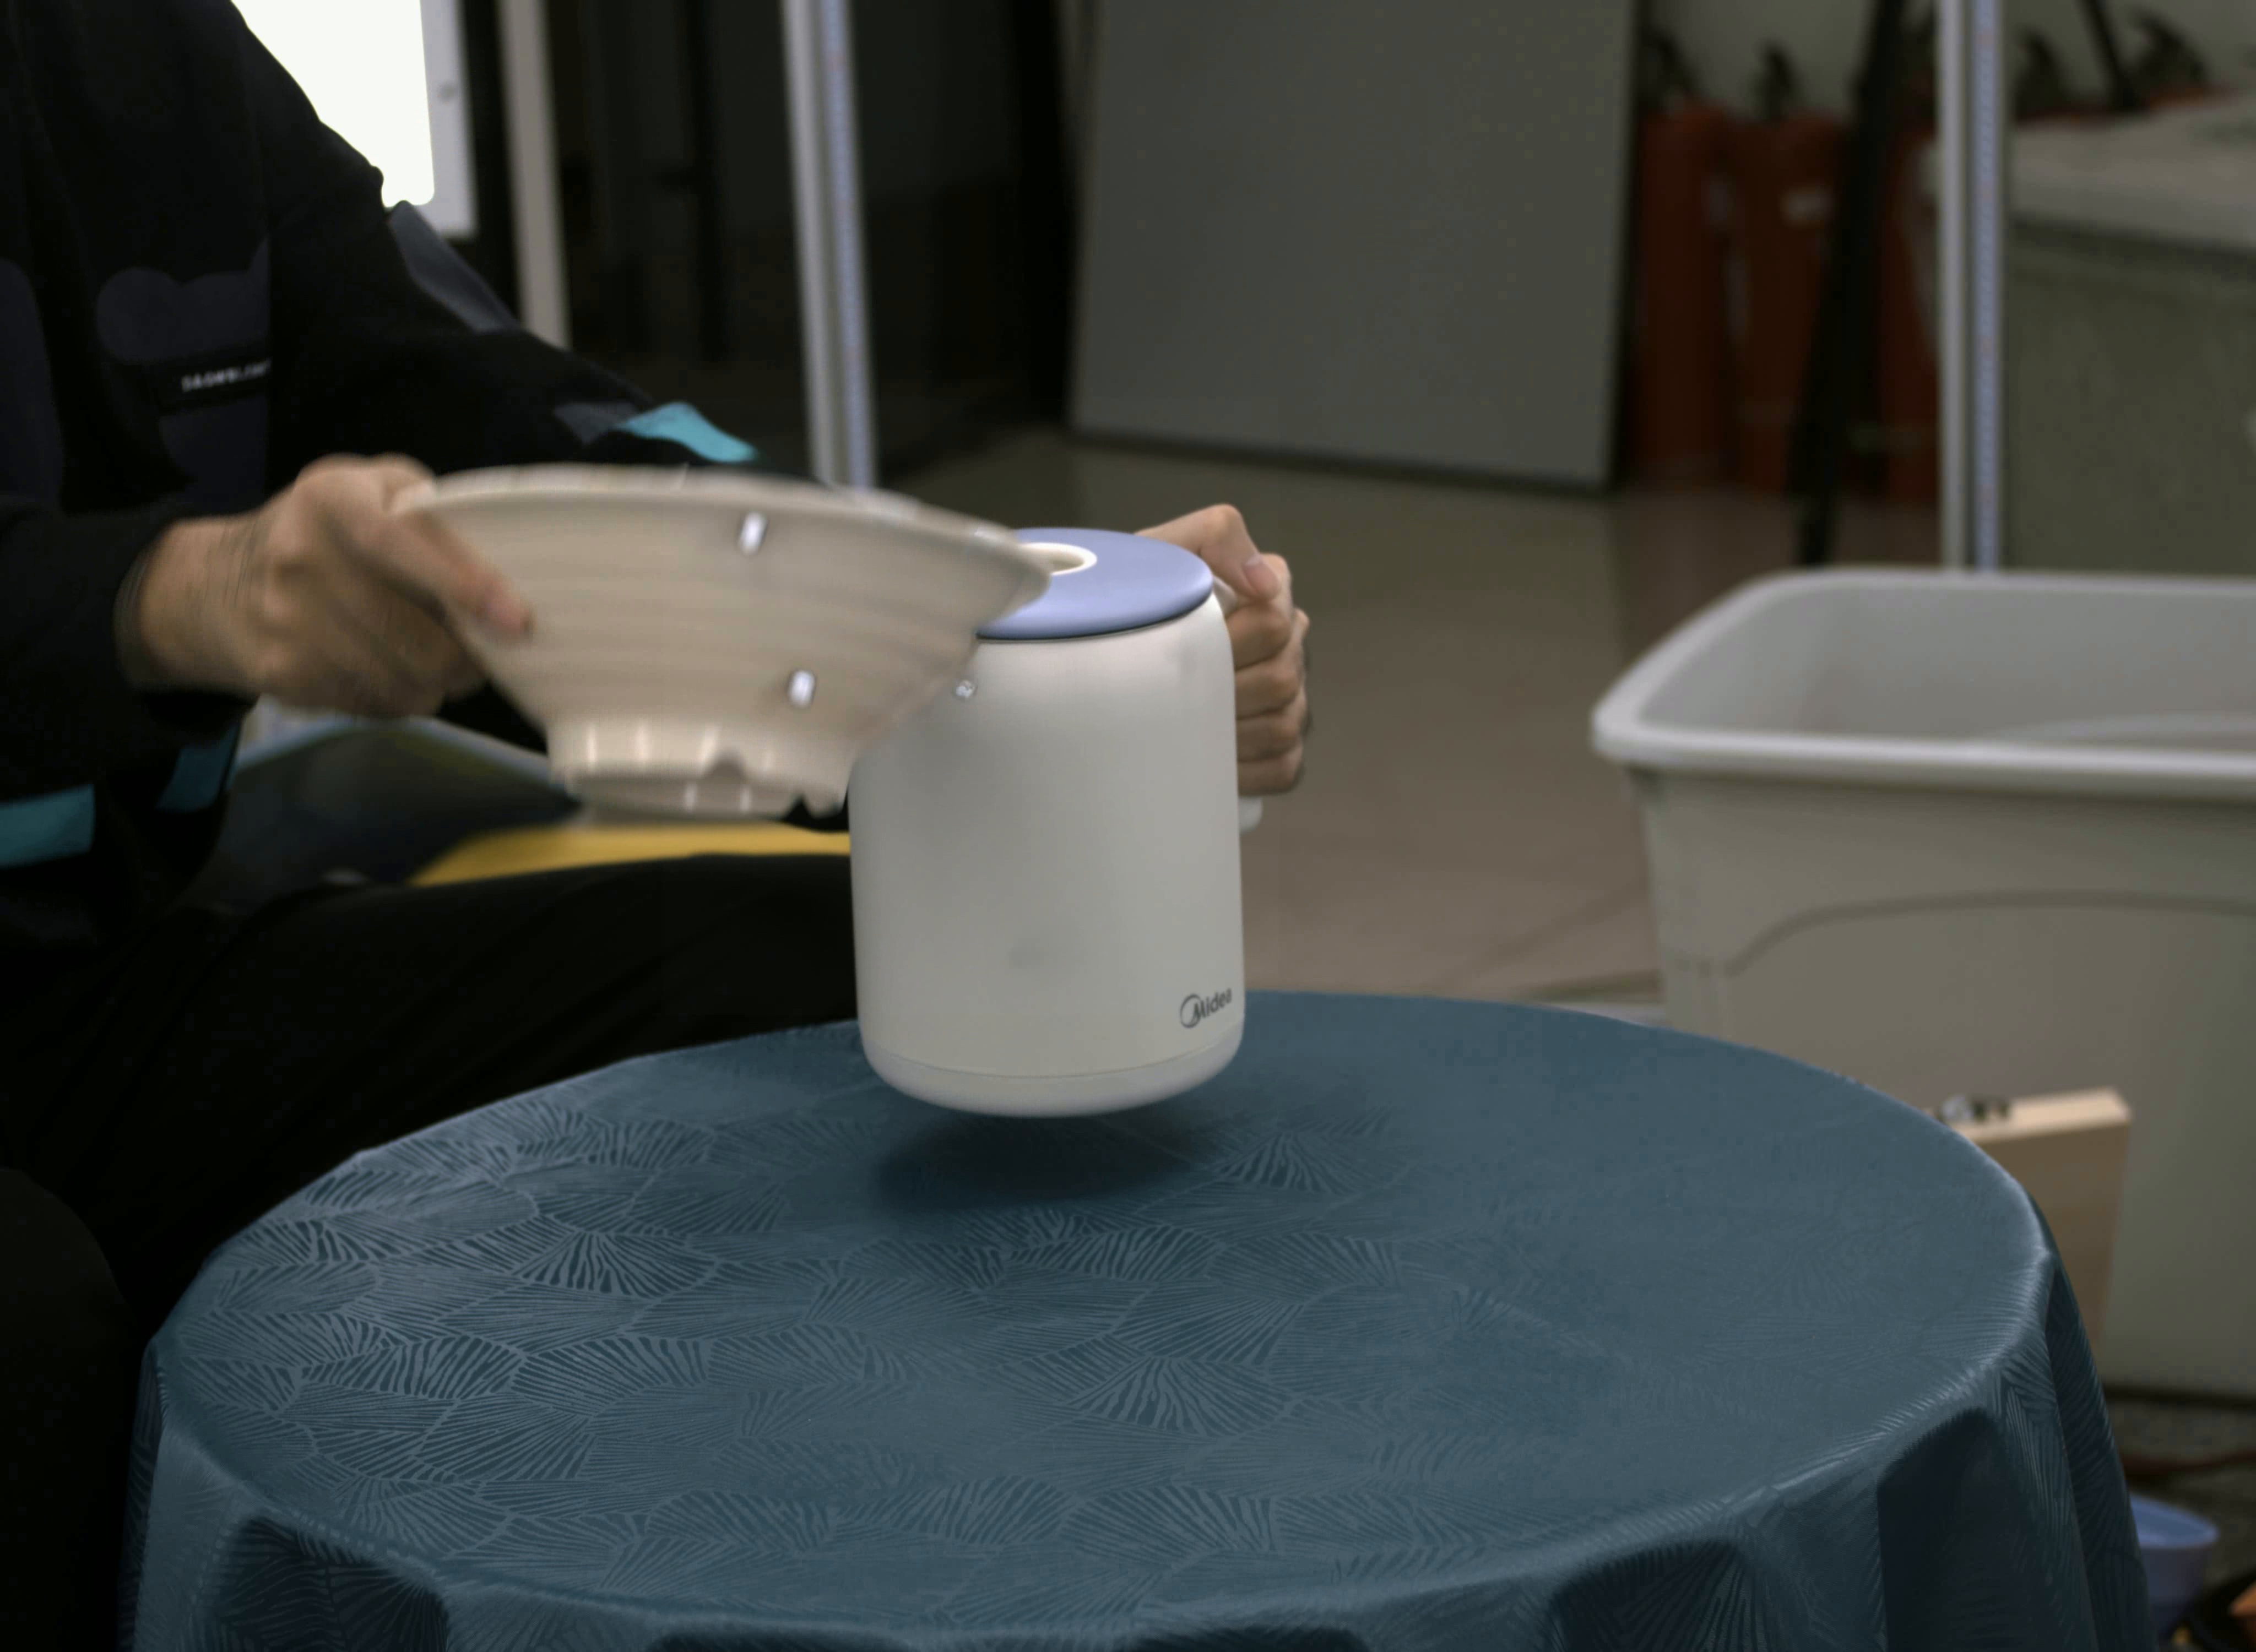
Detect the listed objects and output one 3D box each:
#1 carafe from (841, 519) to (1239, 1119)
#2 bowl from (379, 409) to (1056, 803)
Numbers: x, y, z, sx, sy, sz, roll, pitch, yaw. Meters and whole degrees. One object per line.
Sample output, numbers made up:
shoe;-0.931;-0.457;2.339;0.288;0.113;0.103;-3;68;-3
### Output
carafe;-0.016;-0.009;1.815;0.133;0.184;0.188;10;18;33
bowl;-0.122;-0.055;1.602;0.201;0.079;0.204;2;-14;0
